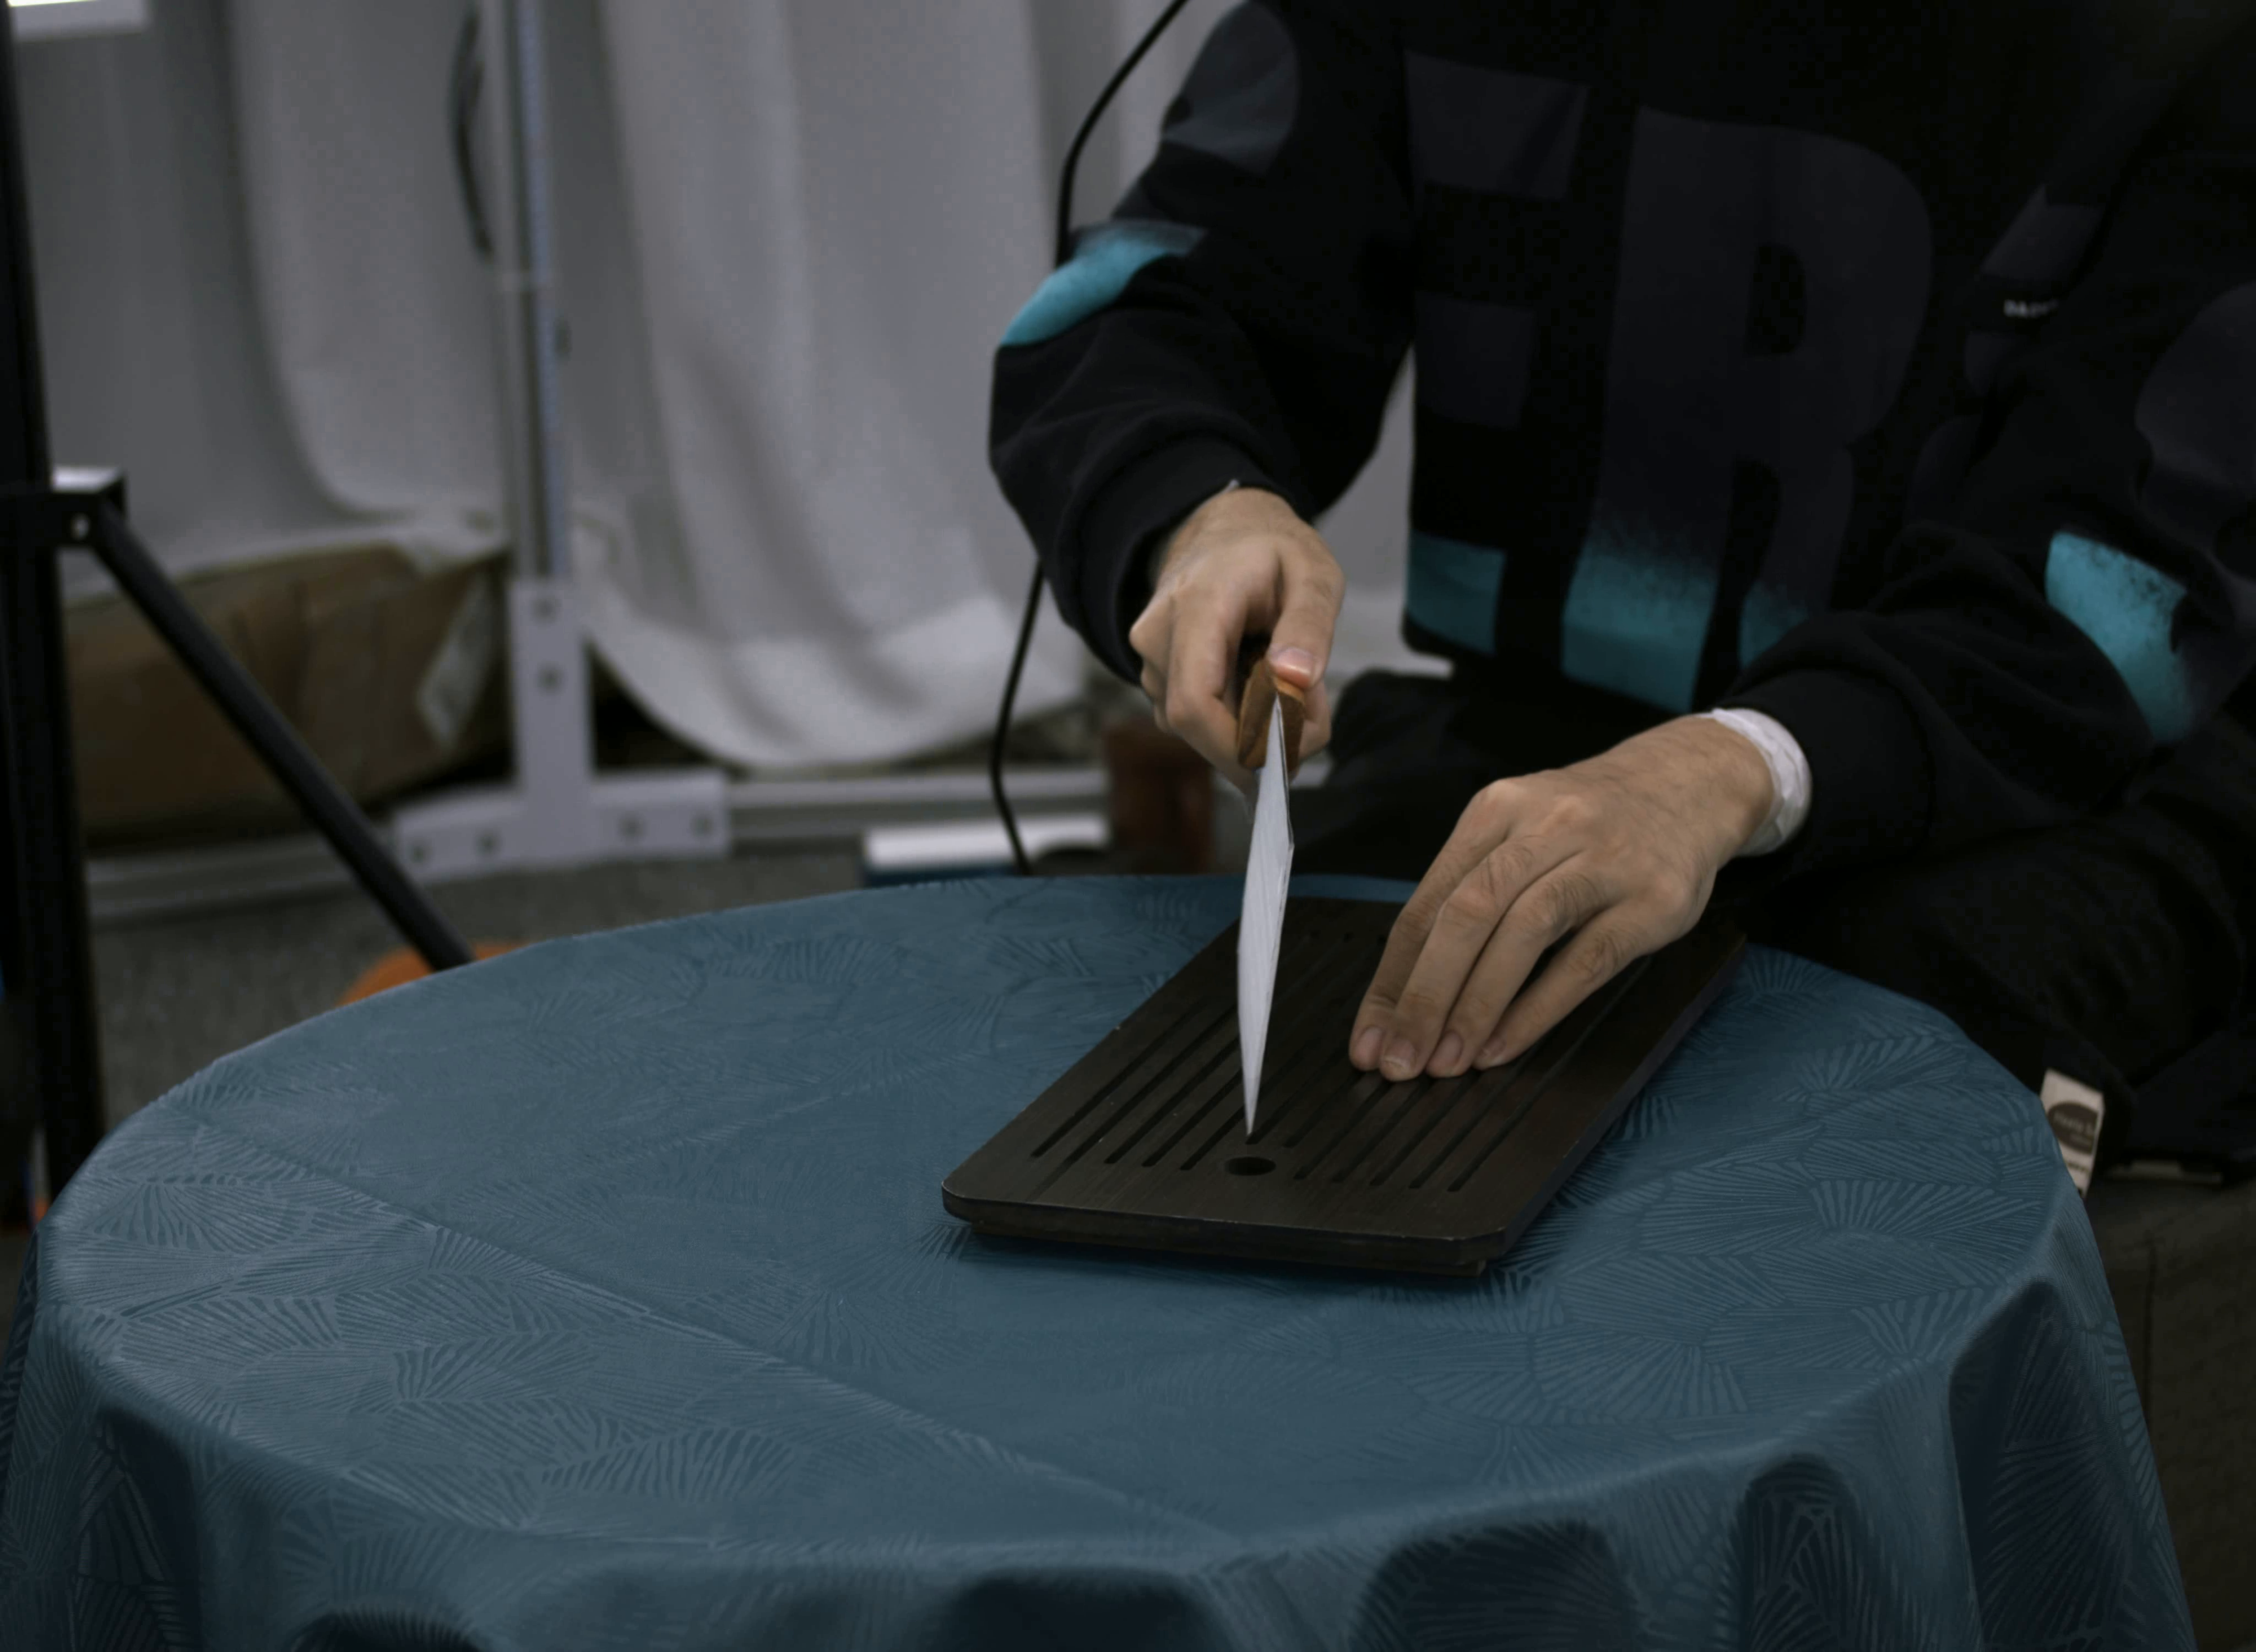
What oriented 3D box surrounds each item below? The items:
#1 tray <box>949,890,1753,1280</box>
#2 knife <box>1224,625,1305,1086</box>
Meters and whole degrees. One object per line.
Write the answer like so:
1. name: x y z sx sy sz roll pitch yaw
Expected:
1. tray: 0.076 0.076 1.622 0.172 0.018 0.302 3 17 21
2. knife: 0.040 0.008 1.665 0.021 0.093 0.307 8 15 -2
